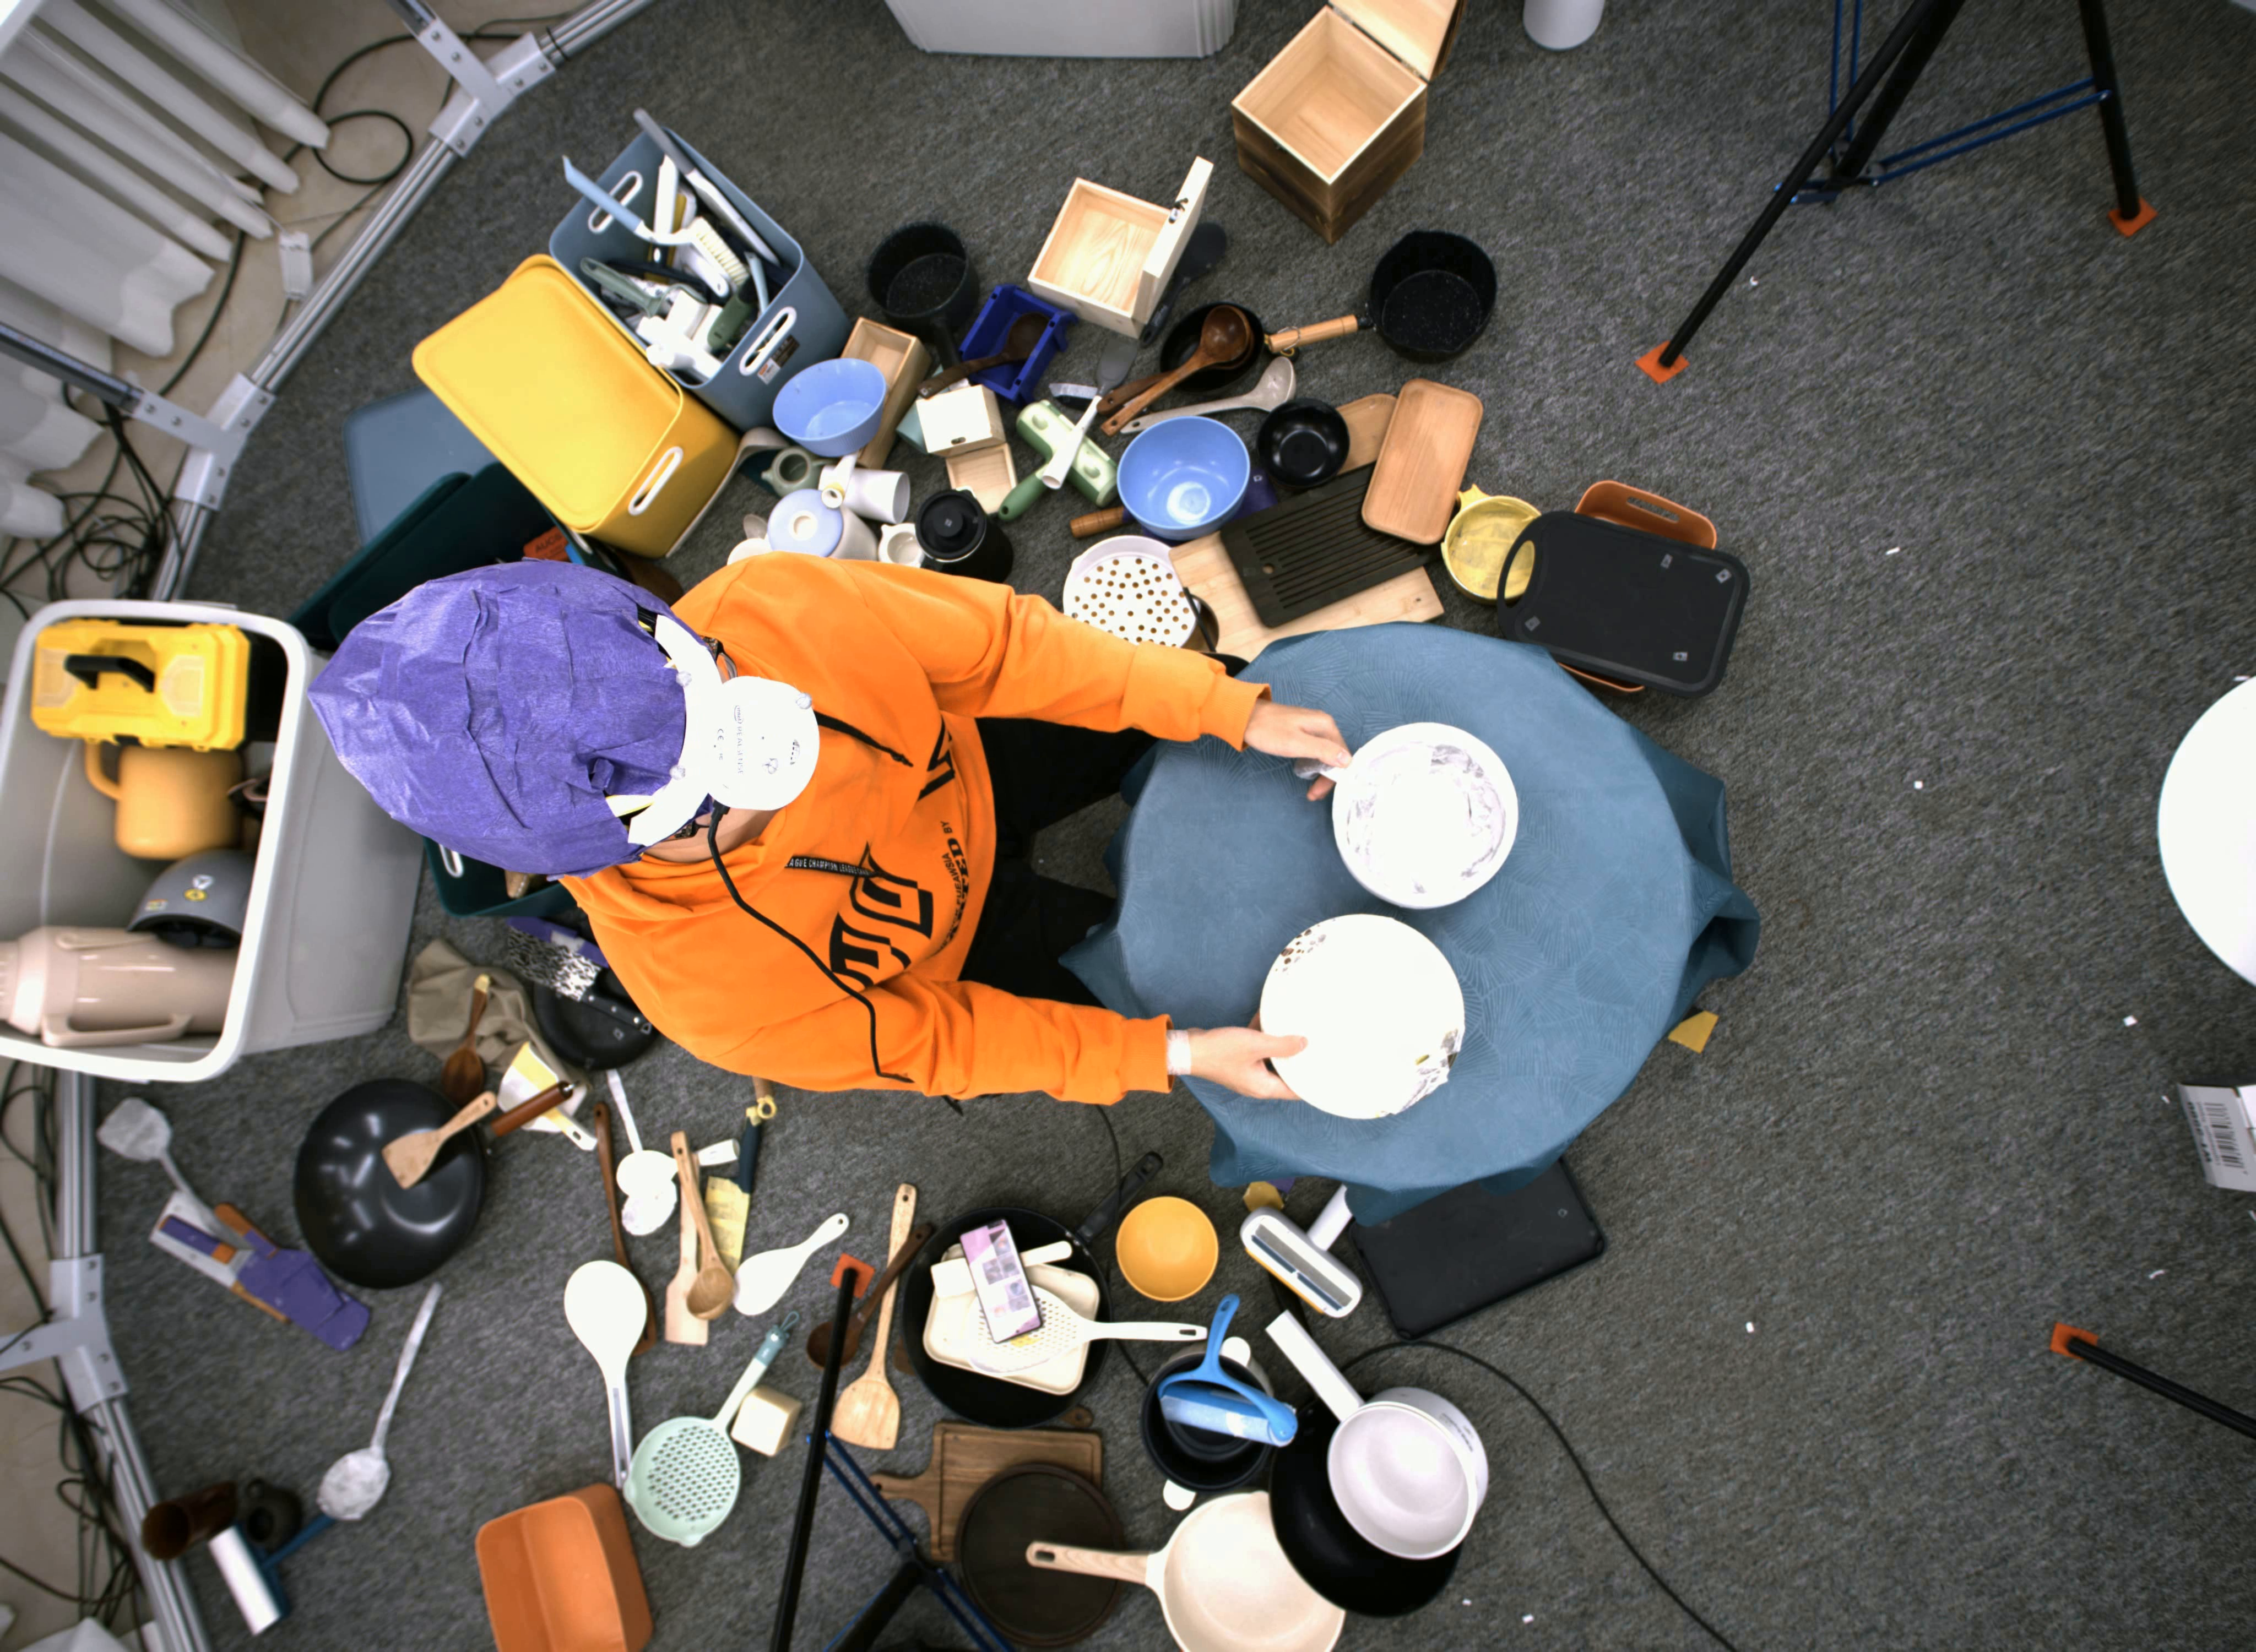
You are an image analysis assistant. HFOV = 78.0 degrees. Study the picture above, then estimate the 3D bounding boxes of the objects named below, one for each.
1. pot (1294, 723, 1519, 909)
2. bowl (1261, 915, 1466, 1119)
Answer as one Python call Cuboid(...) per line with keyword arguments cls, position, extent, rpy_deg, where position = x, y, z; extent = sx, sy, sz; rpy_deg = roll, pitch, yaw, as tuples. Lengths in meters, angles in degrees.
Cuboid(cls="pot", position=(0.273, -0.021, 1.395), extent=(0.233, 0.137, 0.179), rpy_deg=(28, 91, 11))
Cuboid(cls="bowl", position=(0.242, 0.193, 1.421), extent=(0.205, 0.078, 0.203), rpy_deg=(-1, 86, 12))
